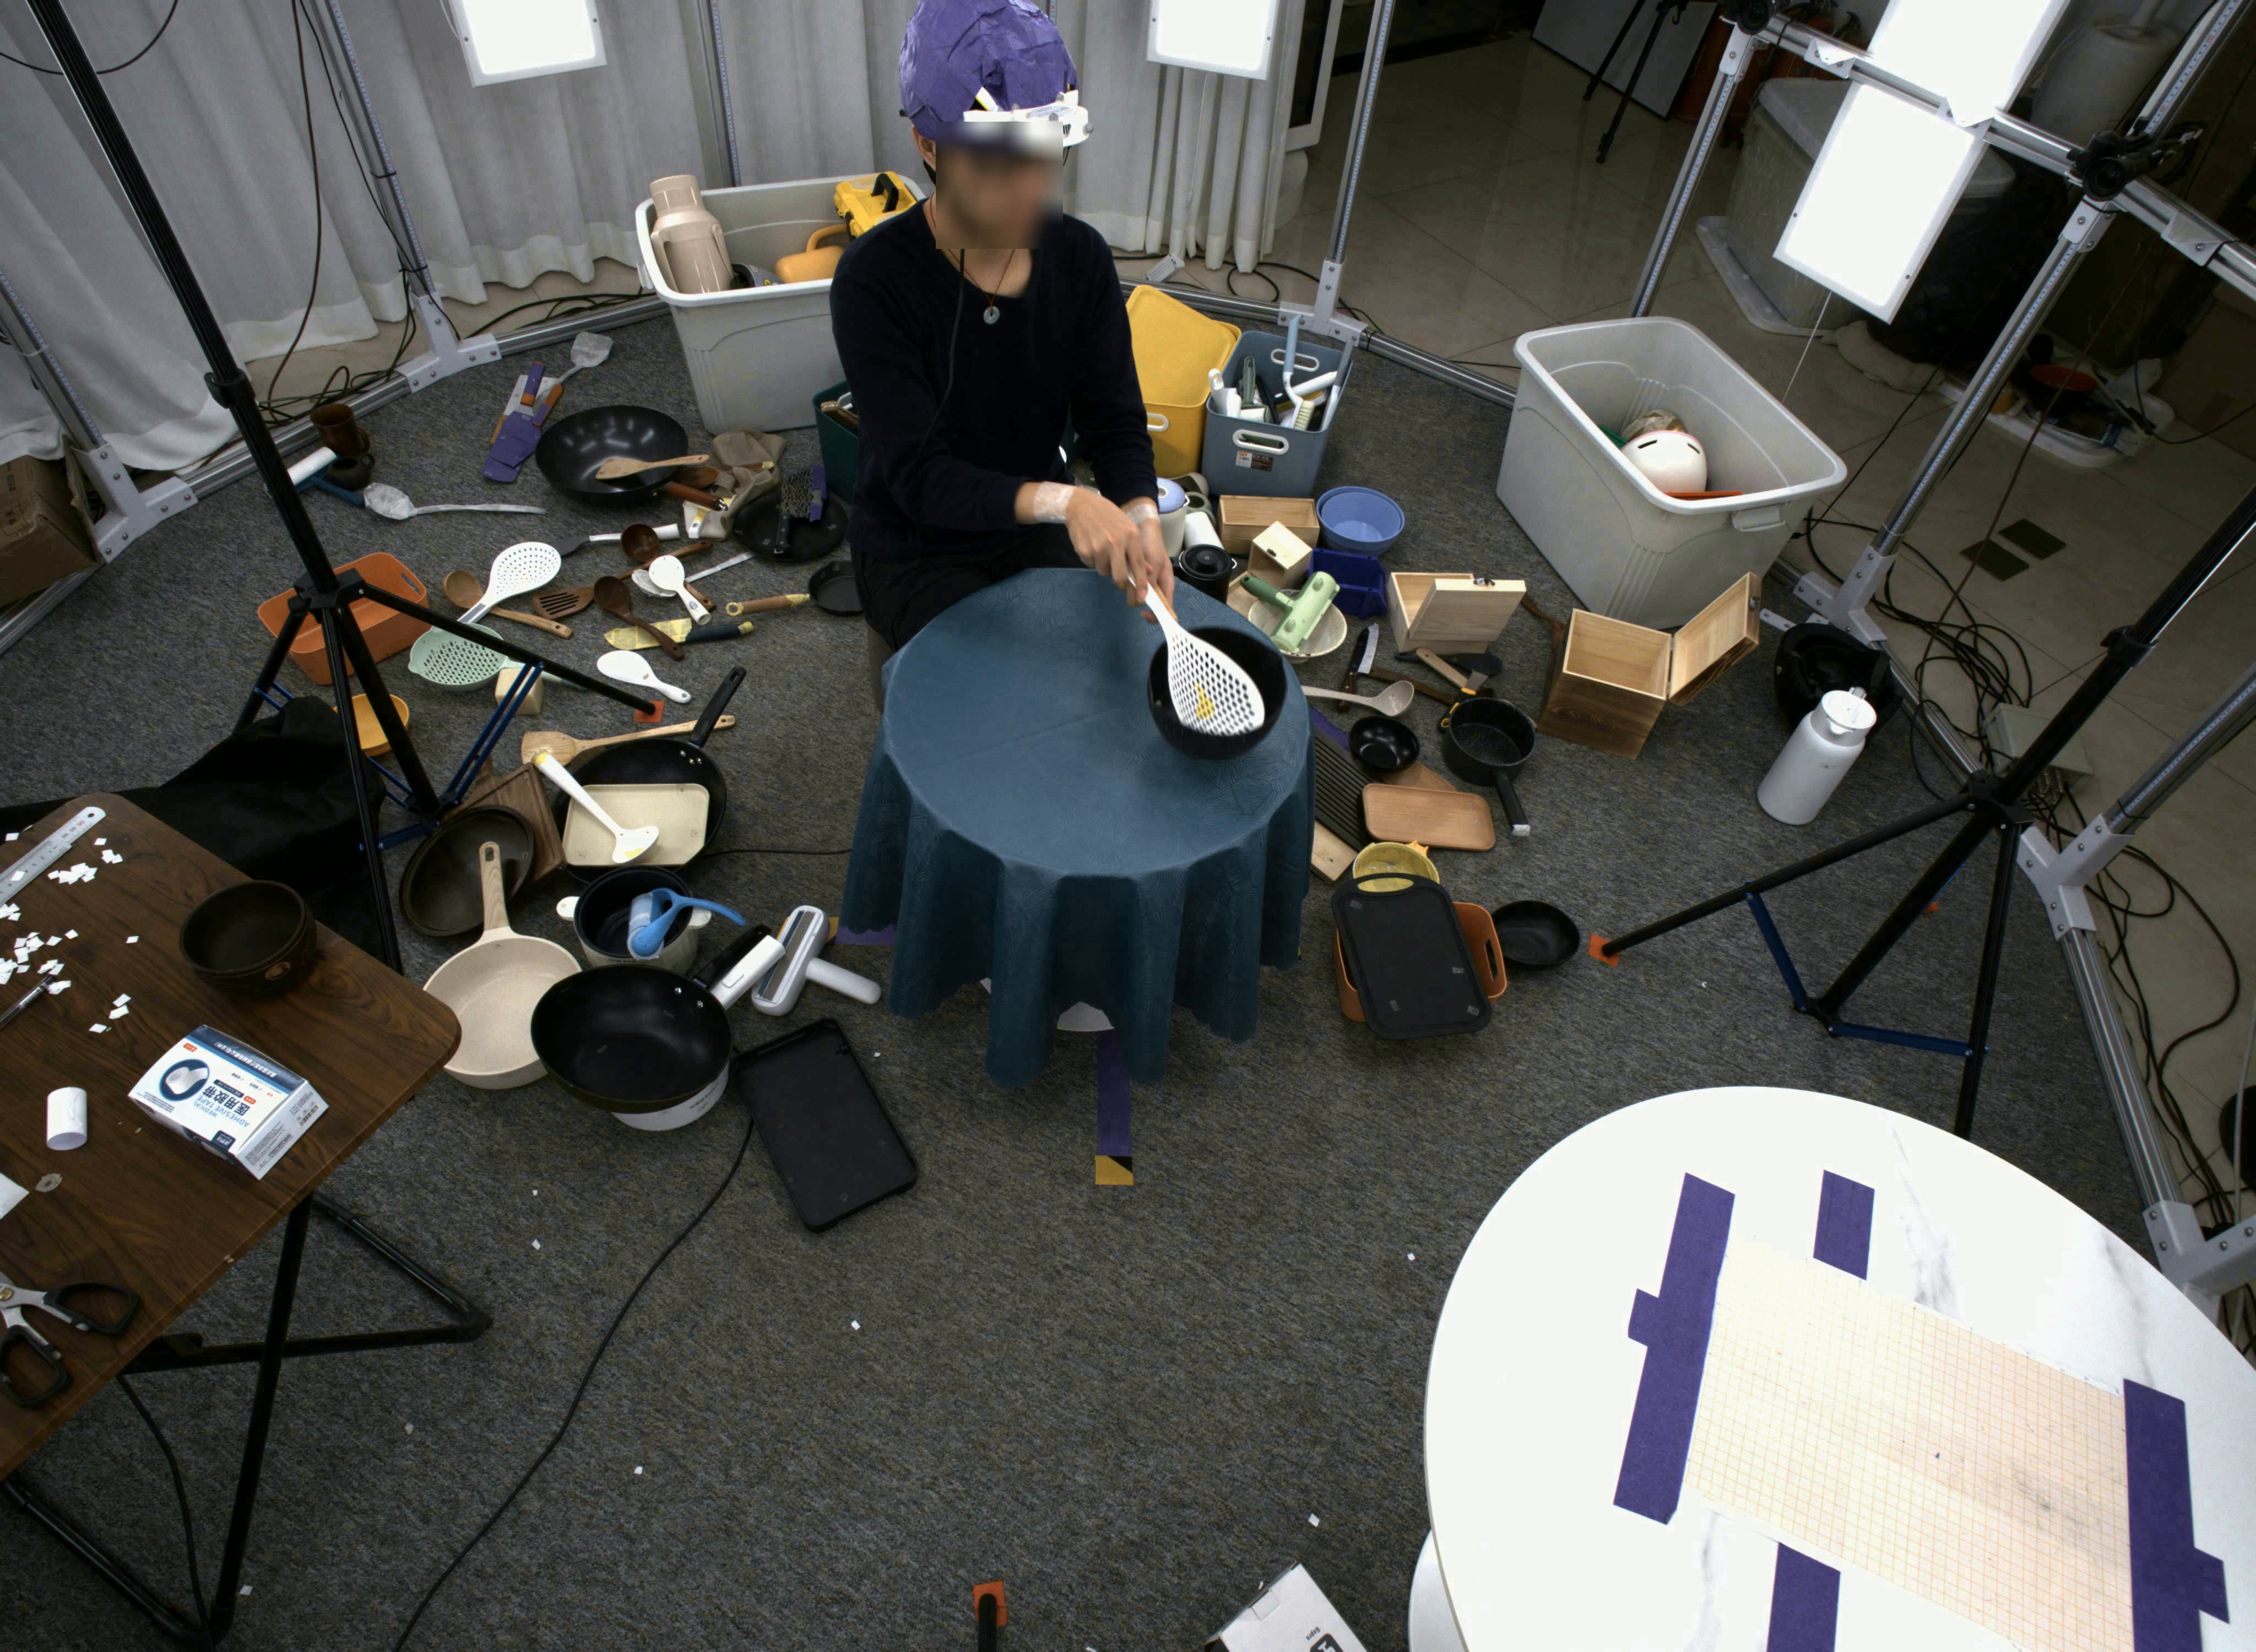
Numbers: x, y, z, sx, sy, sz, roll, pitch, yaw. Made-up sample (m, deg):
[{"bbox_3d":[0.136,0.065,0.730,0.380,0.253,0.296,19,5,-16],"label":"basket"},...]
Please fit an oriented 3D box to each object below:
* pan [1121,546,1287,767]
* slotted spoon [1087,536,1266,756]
[{"bbox_3d":[0.075,-0.230,1.744,0.208,0.106,0.349,-24,62,-19],"label":"pan"},{"bbox_3d":[0.057,-0.243,1.705,0.138,0.050,0.345,-38,101,-29],"label":"slotted spoon"}]
